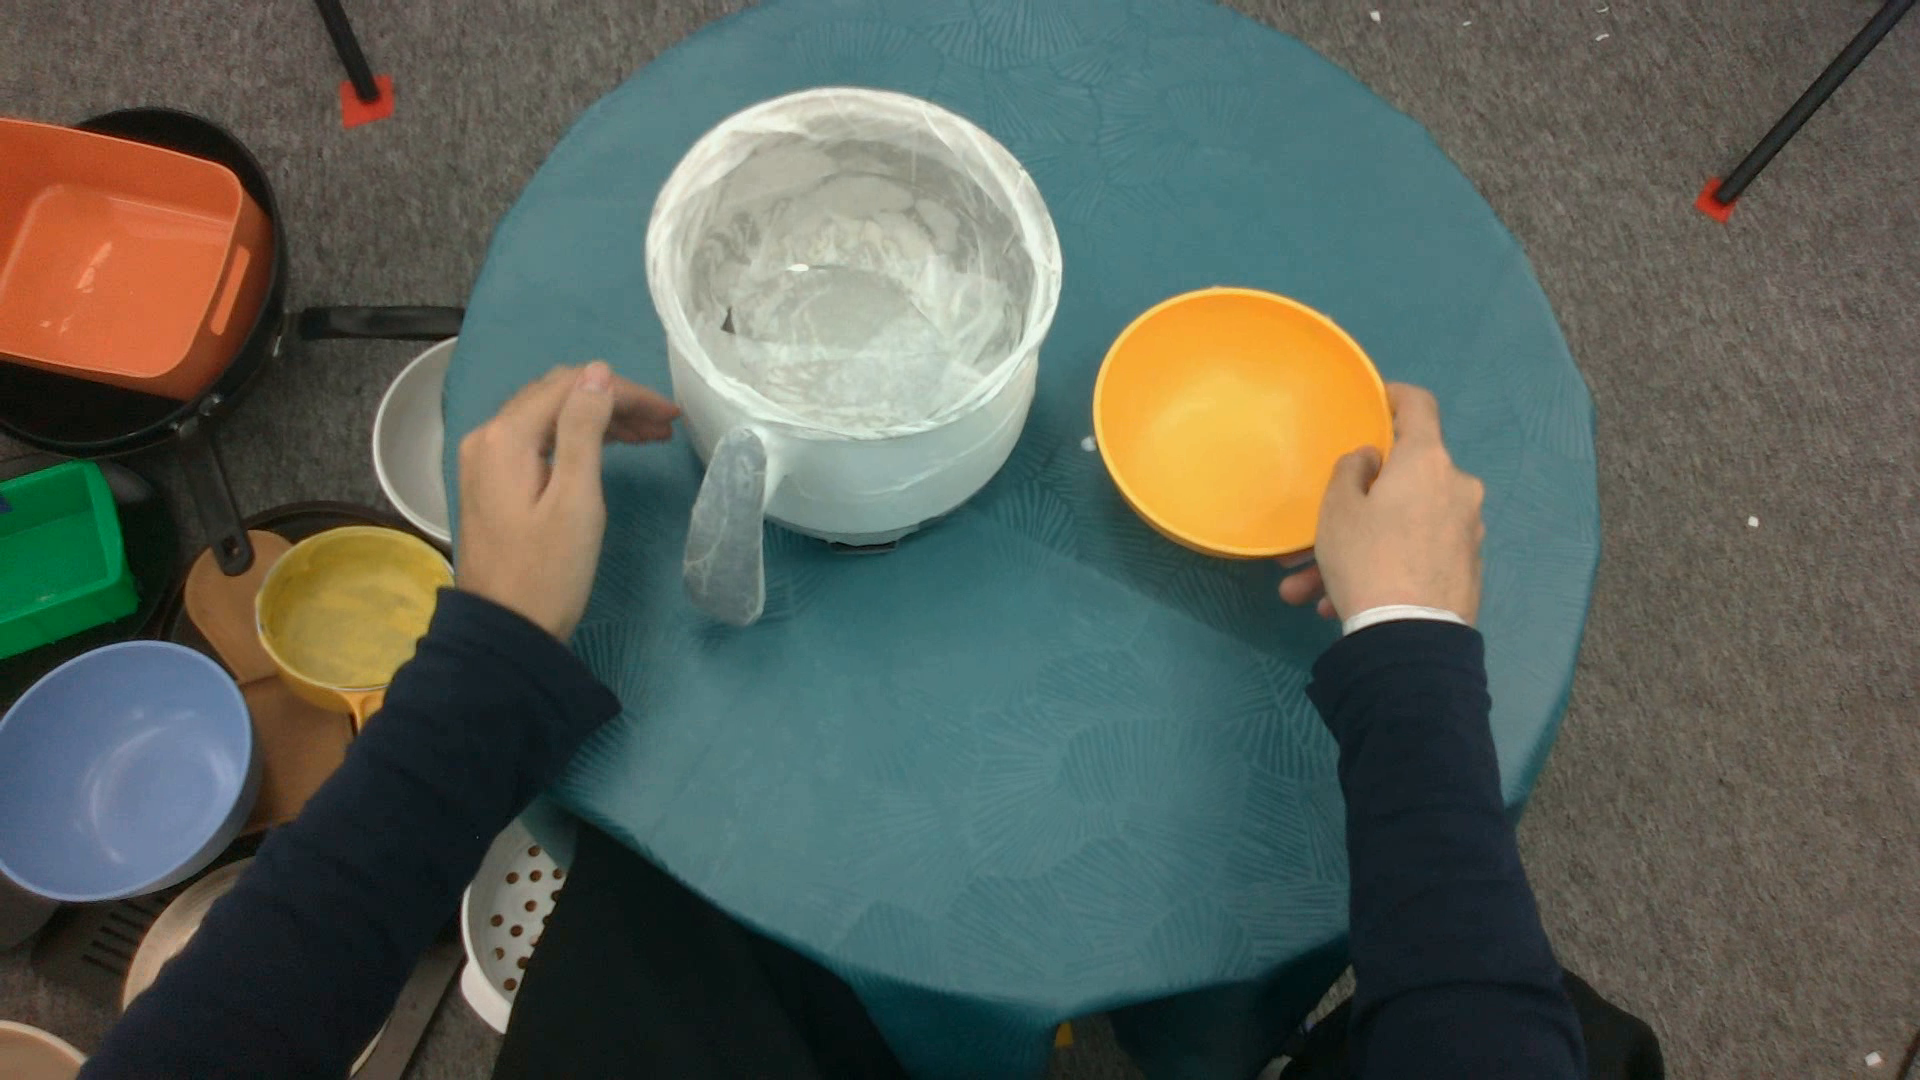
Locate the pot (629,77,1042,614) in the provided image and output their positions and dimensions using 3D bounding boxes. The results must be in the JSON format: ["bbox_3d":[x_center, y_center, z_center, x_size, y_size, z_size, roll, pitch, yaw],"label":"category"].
[{"bbox_3d":[-0.067,-0.081,0.637,0.178,0.136,0.234,22,66,6],"label":"pot"}]

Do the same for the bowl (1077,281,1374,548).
[{"bbox_3d":[0.127,-0.054,0.689,0.145,0.060,0.146,2,67,-4],"label":"bowl"}]
